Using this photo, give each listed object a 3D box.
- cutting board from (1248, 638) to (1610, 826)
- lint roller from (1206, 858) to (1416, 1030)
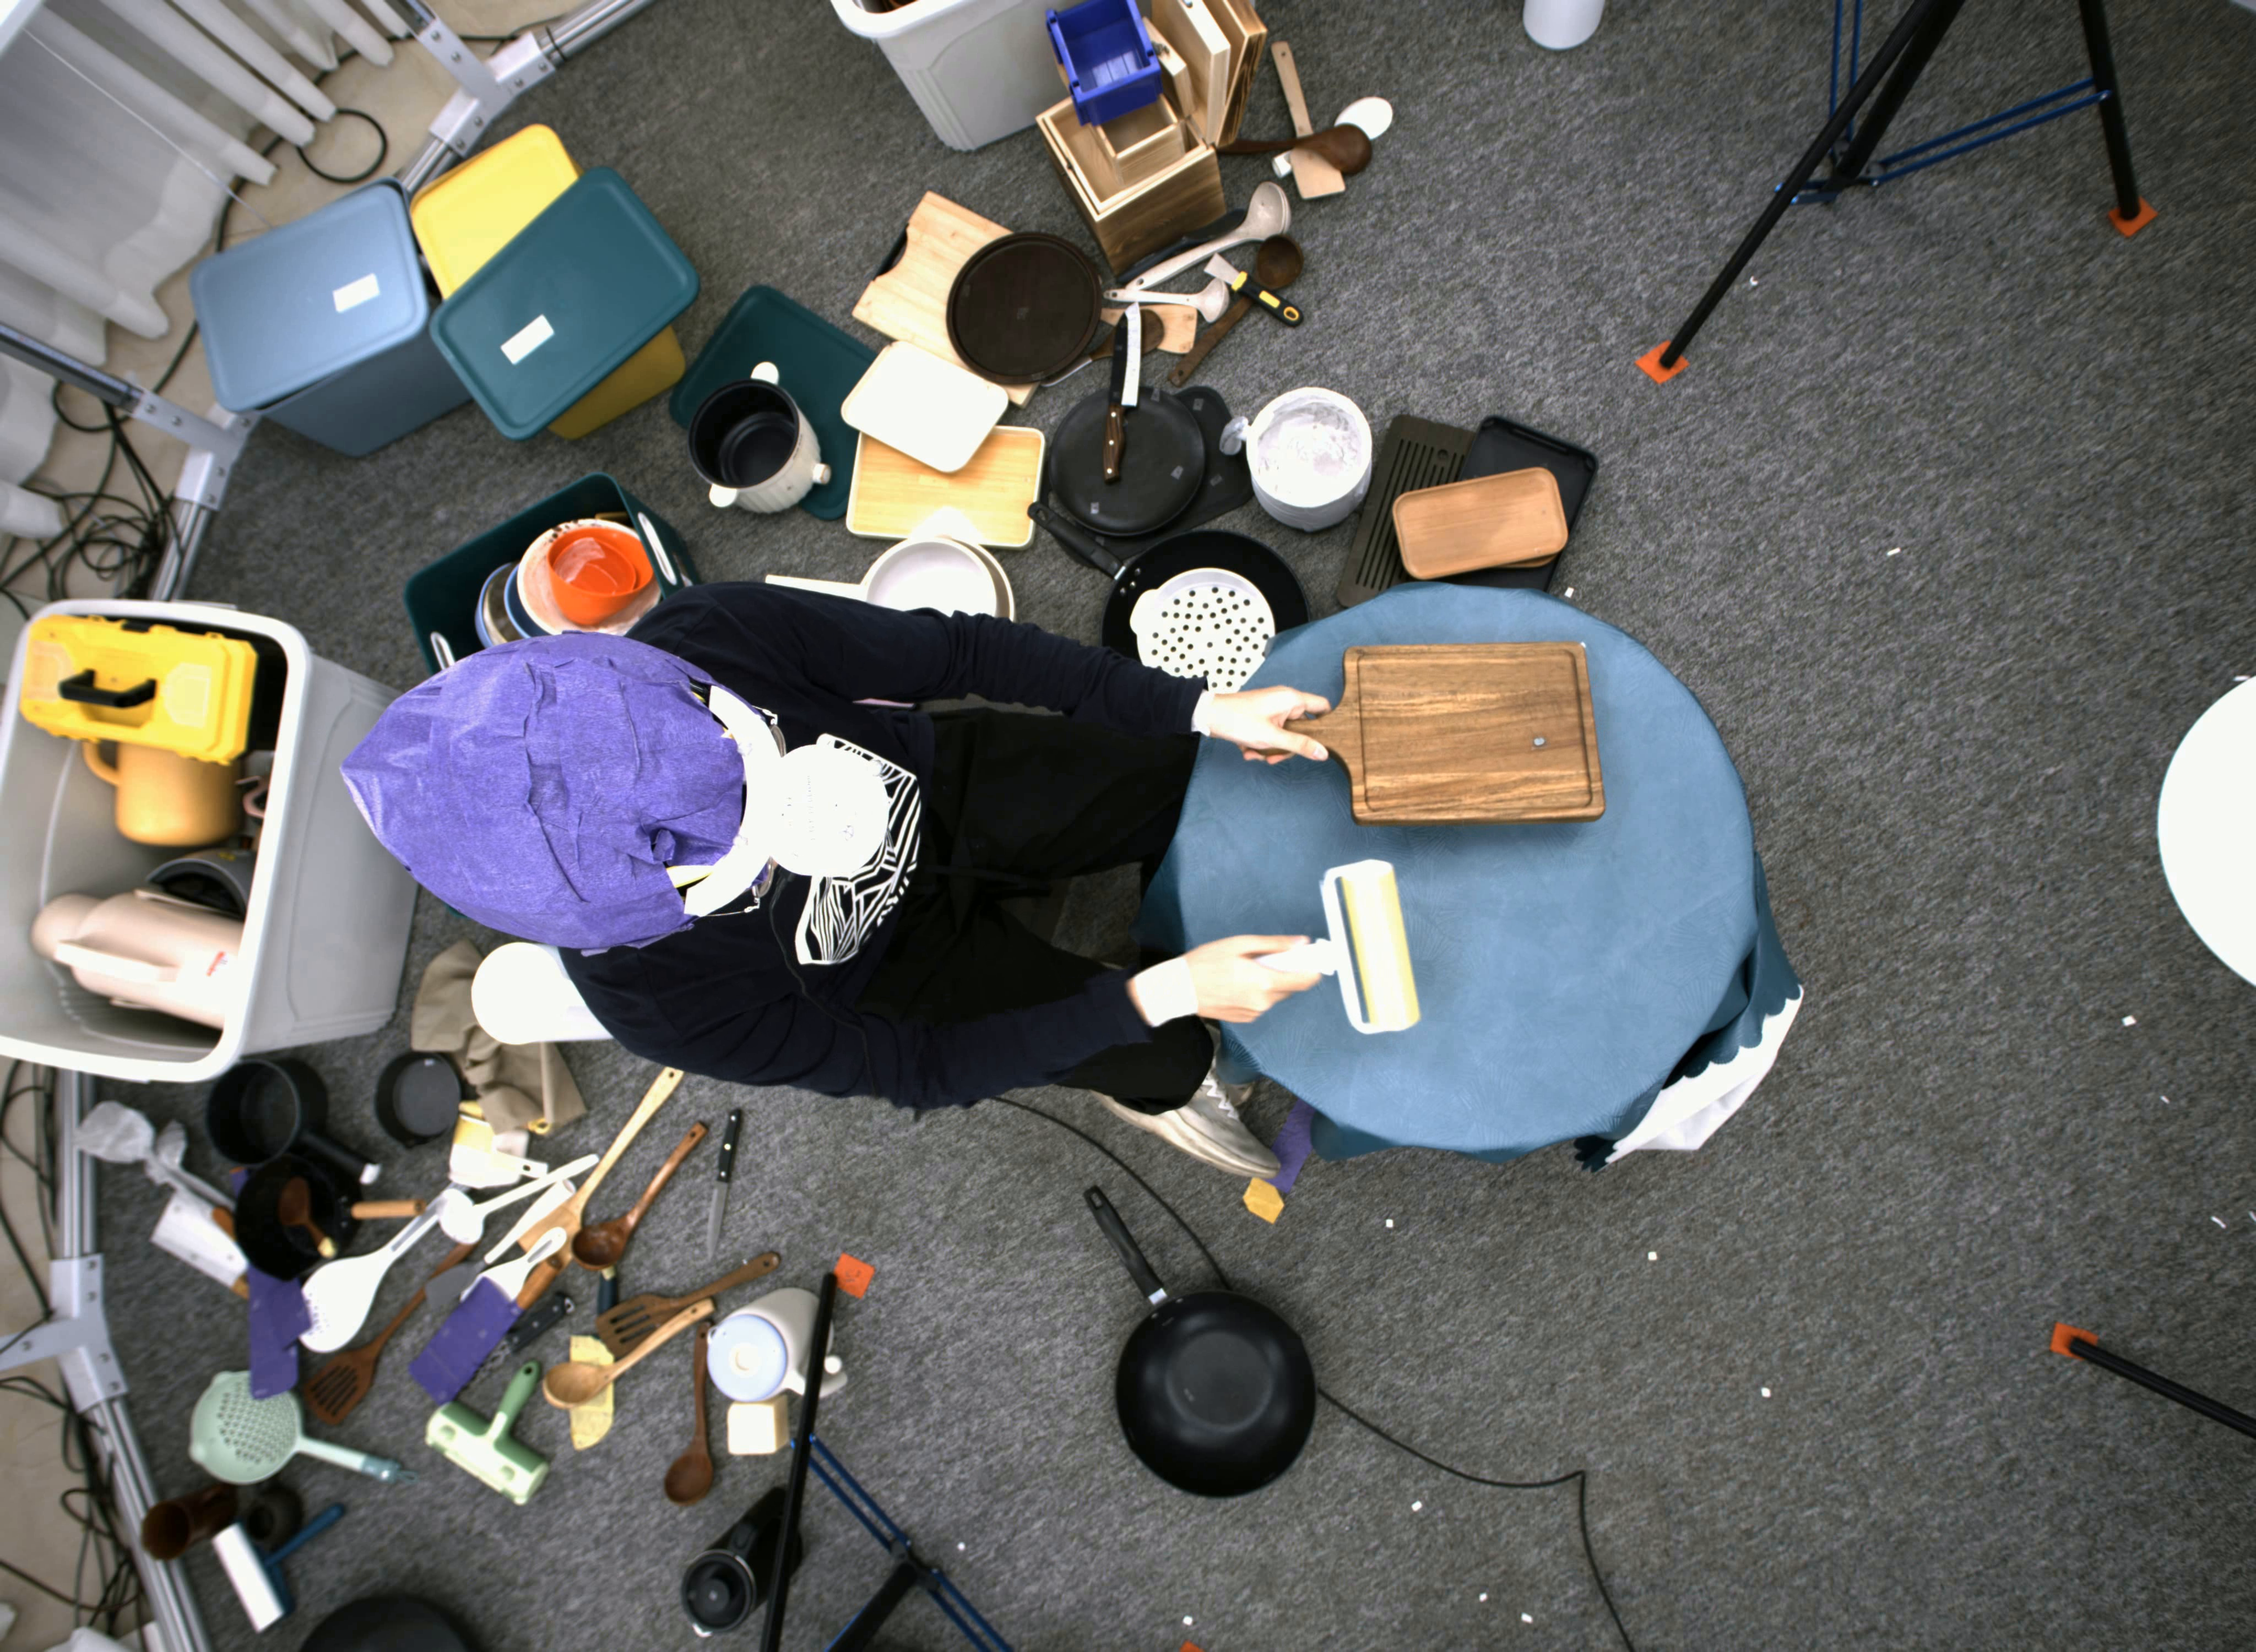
[{"bbox_3d":[0.299,-0.097,1.395,0.353,0.023,0.197,-2,70,4],"label":"cutting board"},{"bbox_3d":[0.172,0.134,1.347,0.192,0.050,0.177,-17,110,0],"label":"lint roller"}]
